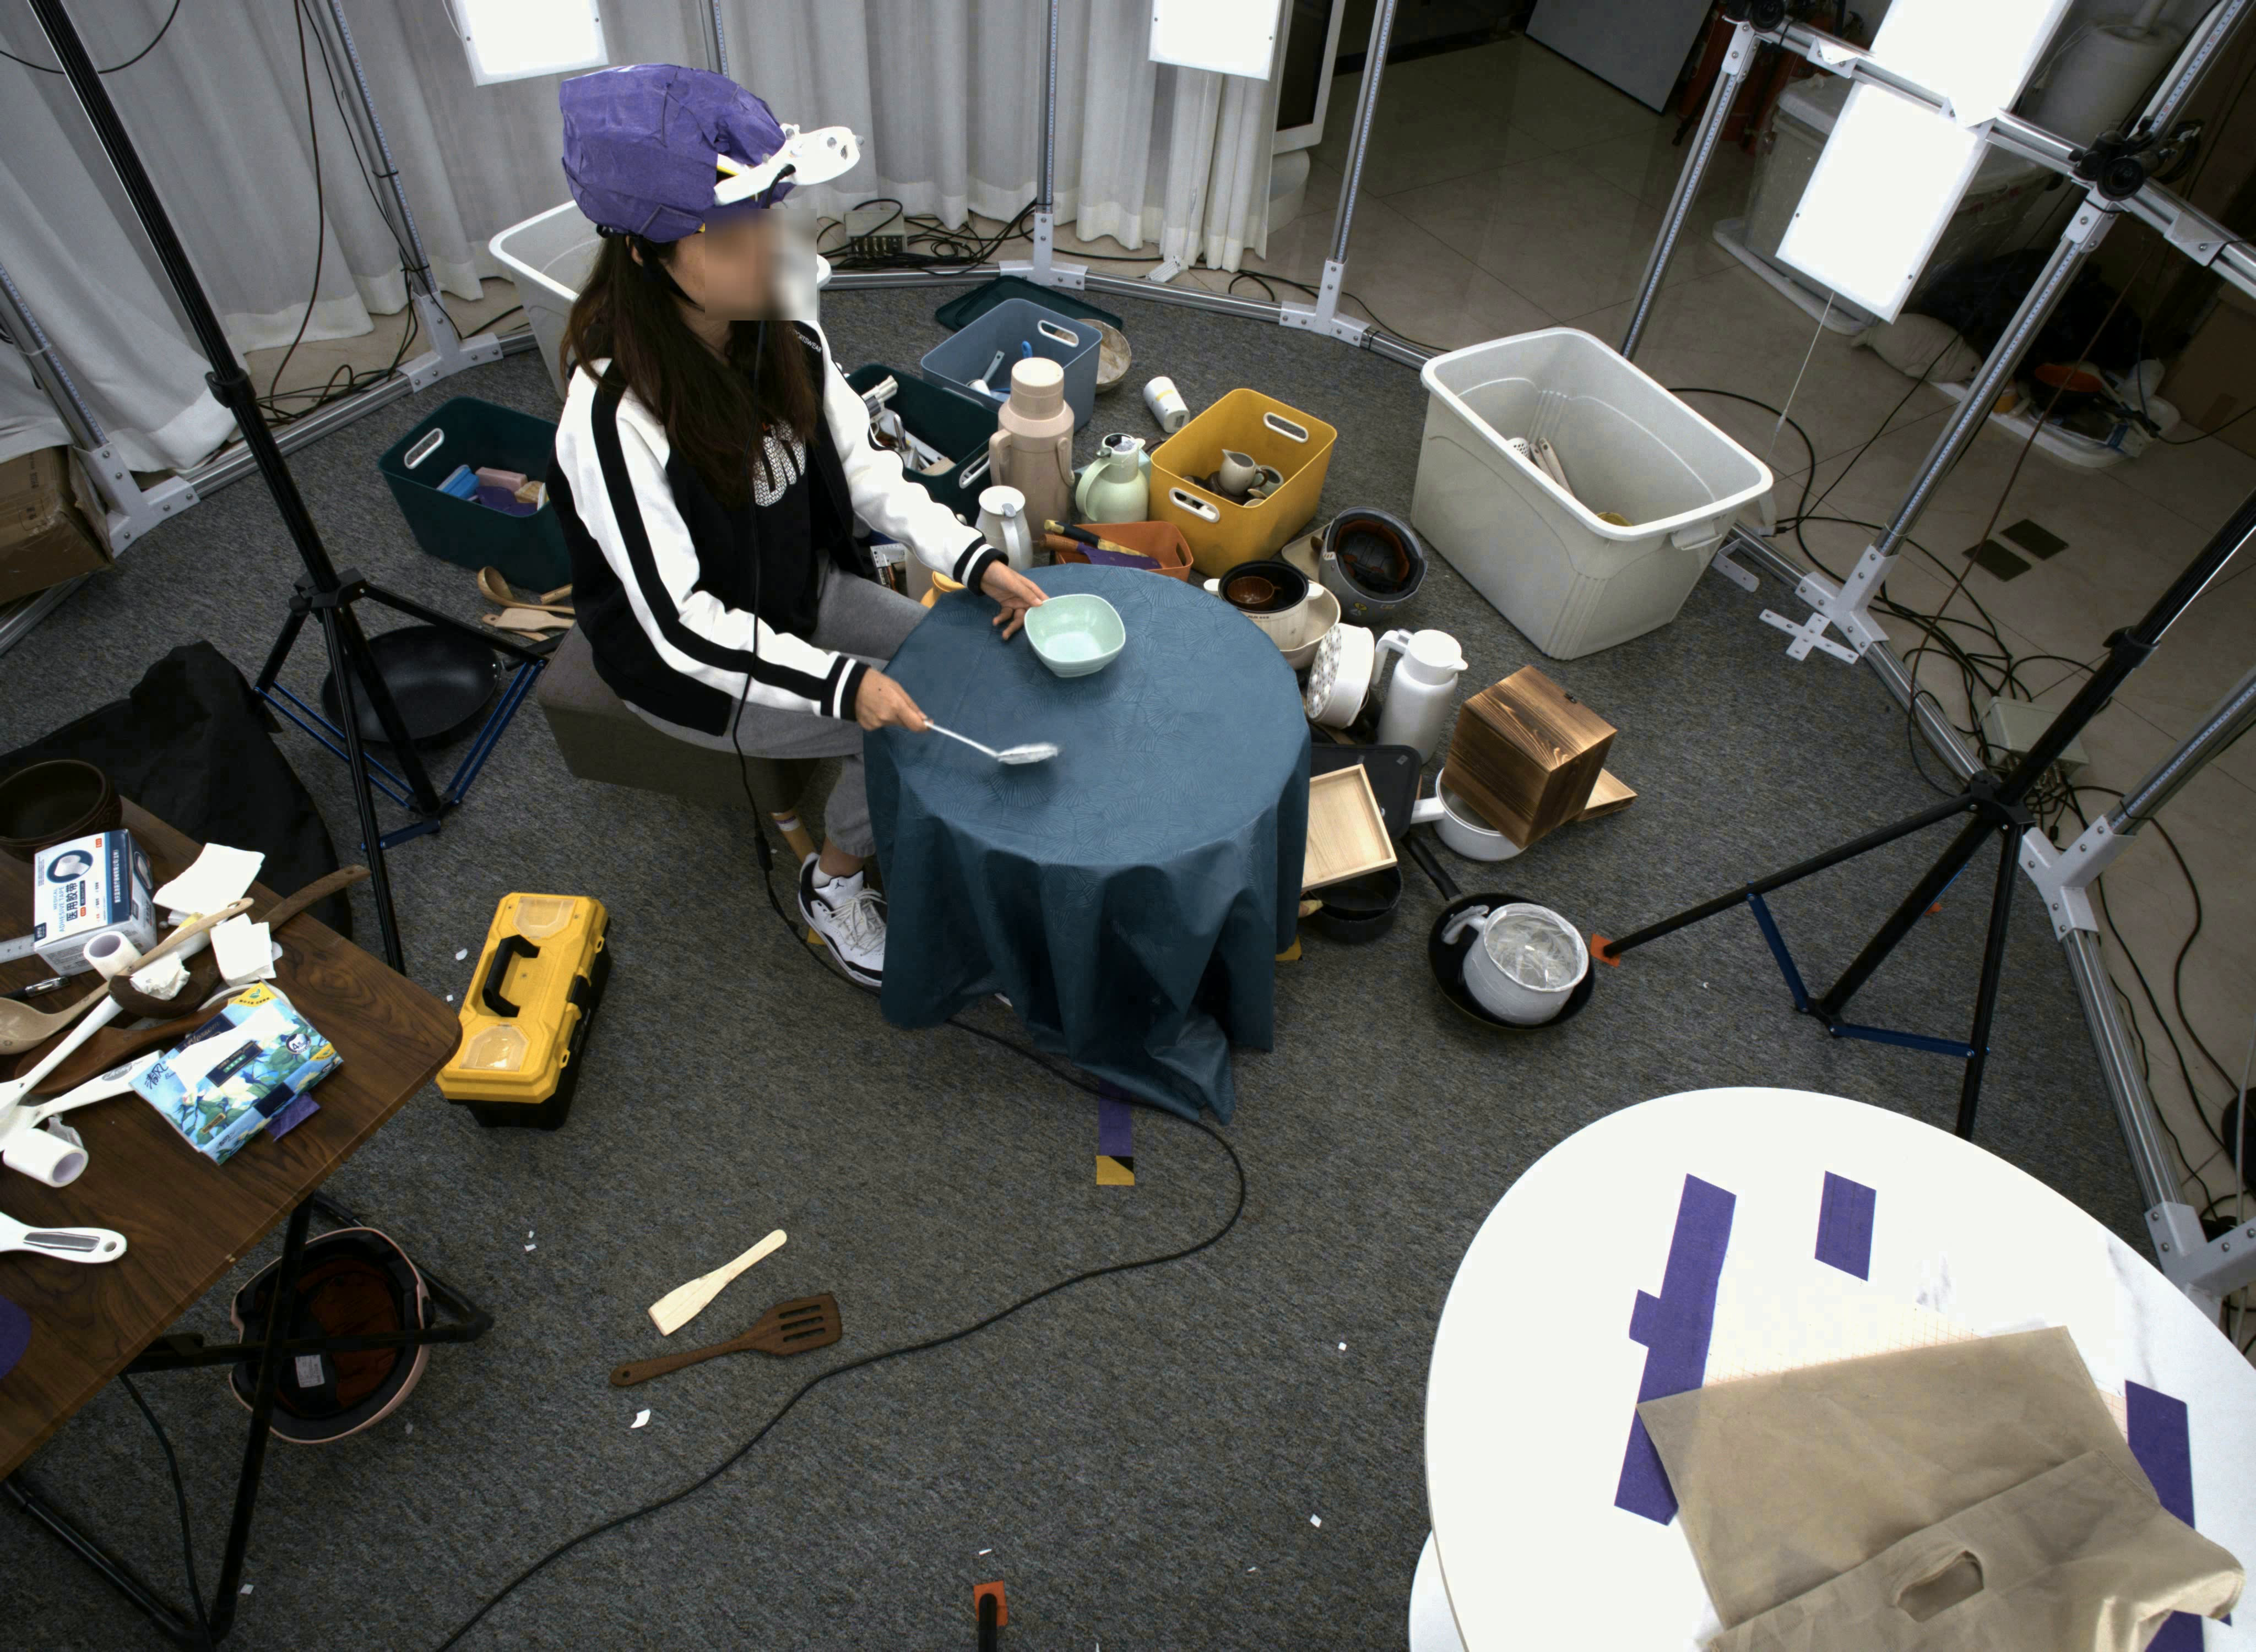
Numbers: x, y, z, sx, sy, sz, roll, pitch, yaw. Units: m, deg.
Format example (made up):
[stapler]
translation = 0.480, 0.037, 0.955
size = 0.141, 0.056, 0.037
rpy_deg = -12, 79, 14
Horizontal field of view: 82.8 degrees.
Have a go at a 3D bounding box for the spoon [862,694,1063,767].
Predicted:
[spoon]
translation = -0.220, -0.140, 1.714
size = 0.279, 0.100, 0.059
rpy_deg = 25, 92, 10

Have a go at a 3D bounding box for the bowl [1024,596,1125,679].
[bowl]
translation = -0.078, -0.265, 1.861
size = 0.151, 0.057, 0.155
rpy_deg = 2, 49, -2
